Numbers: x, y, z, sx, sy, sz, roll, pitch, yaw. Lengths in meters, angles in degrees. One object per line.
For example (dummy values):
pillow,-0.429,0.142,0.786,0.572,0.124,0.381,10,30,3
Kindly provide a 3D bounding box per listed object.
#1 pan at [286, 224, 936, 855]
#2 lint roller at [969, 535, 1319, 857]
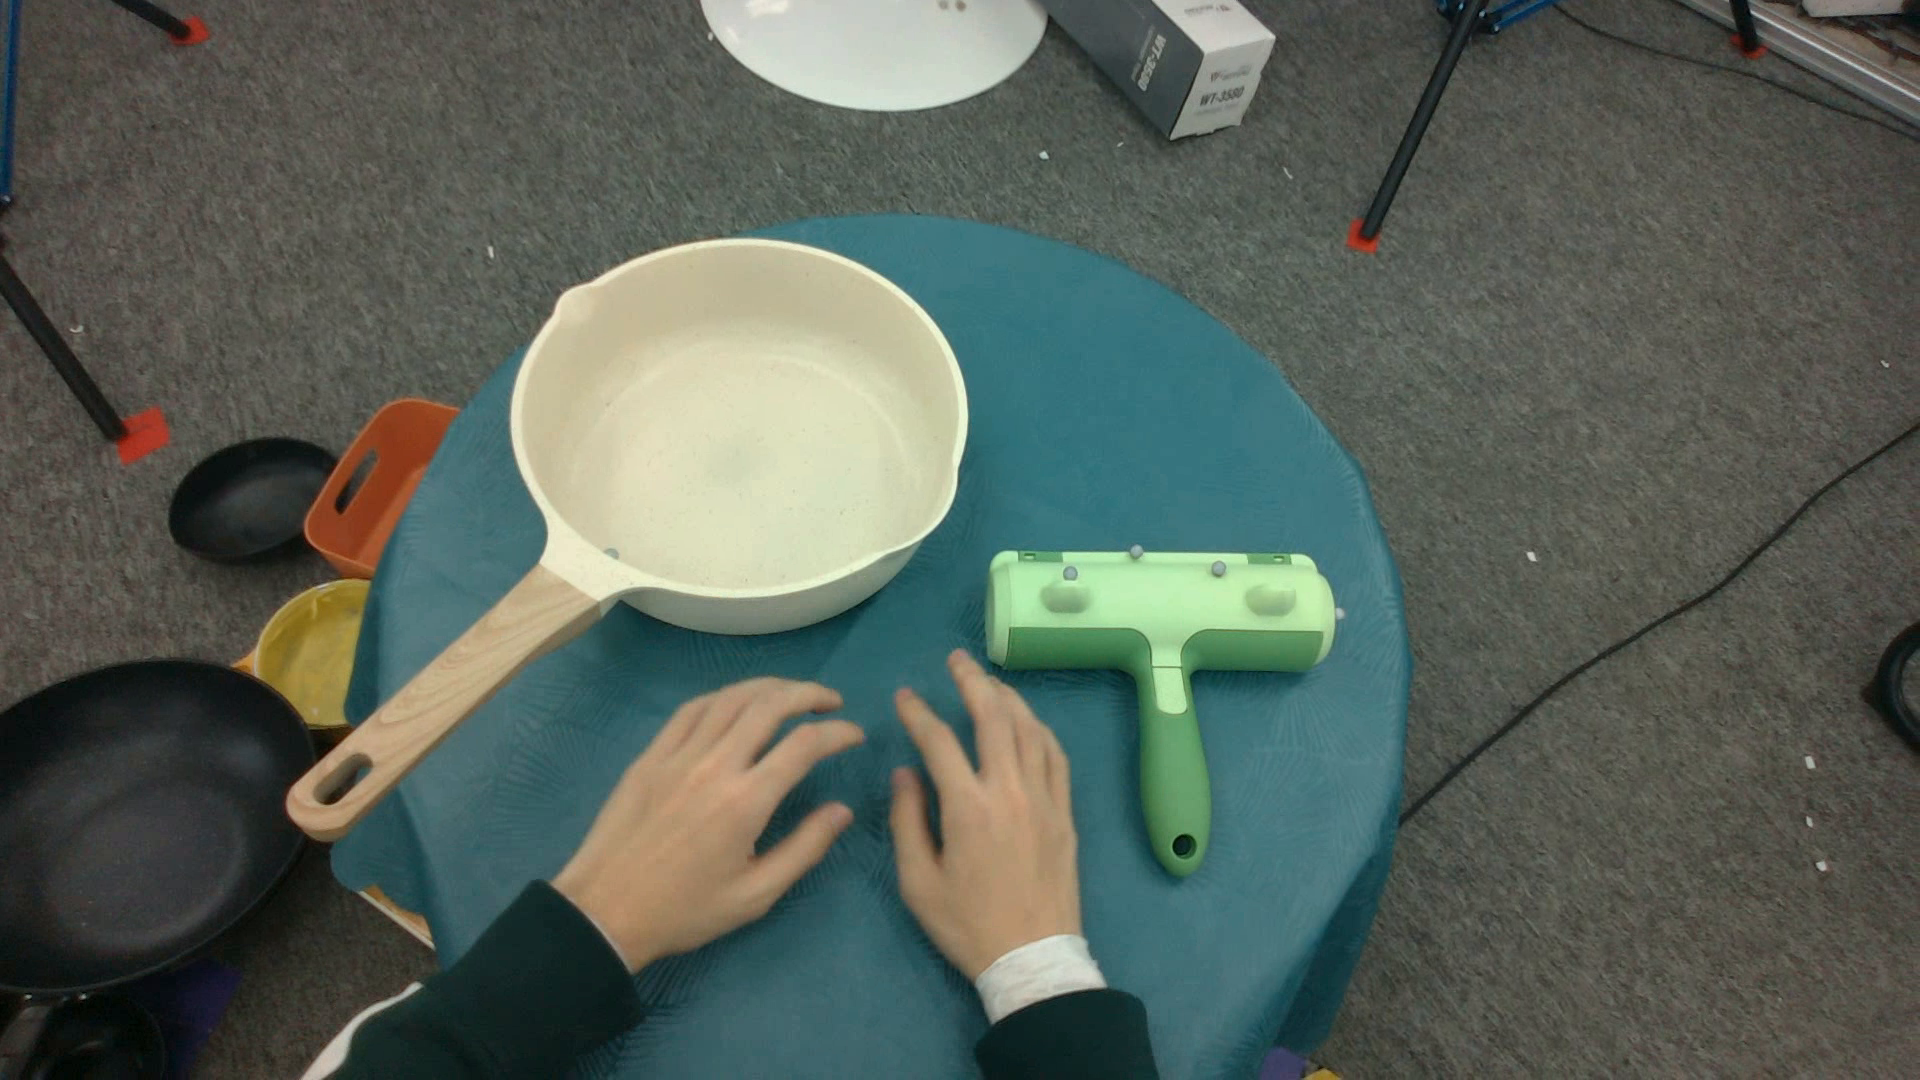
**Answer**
pan,-0.188,-0.001,0.750,0.263,0.101,0.437,30,60,10
lint roller,0.109,0.073,0.750,0.199,0.082,0.184,0,52,-7
